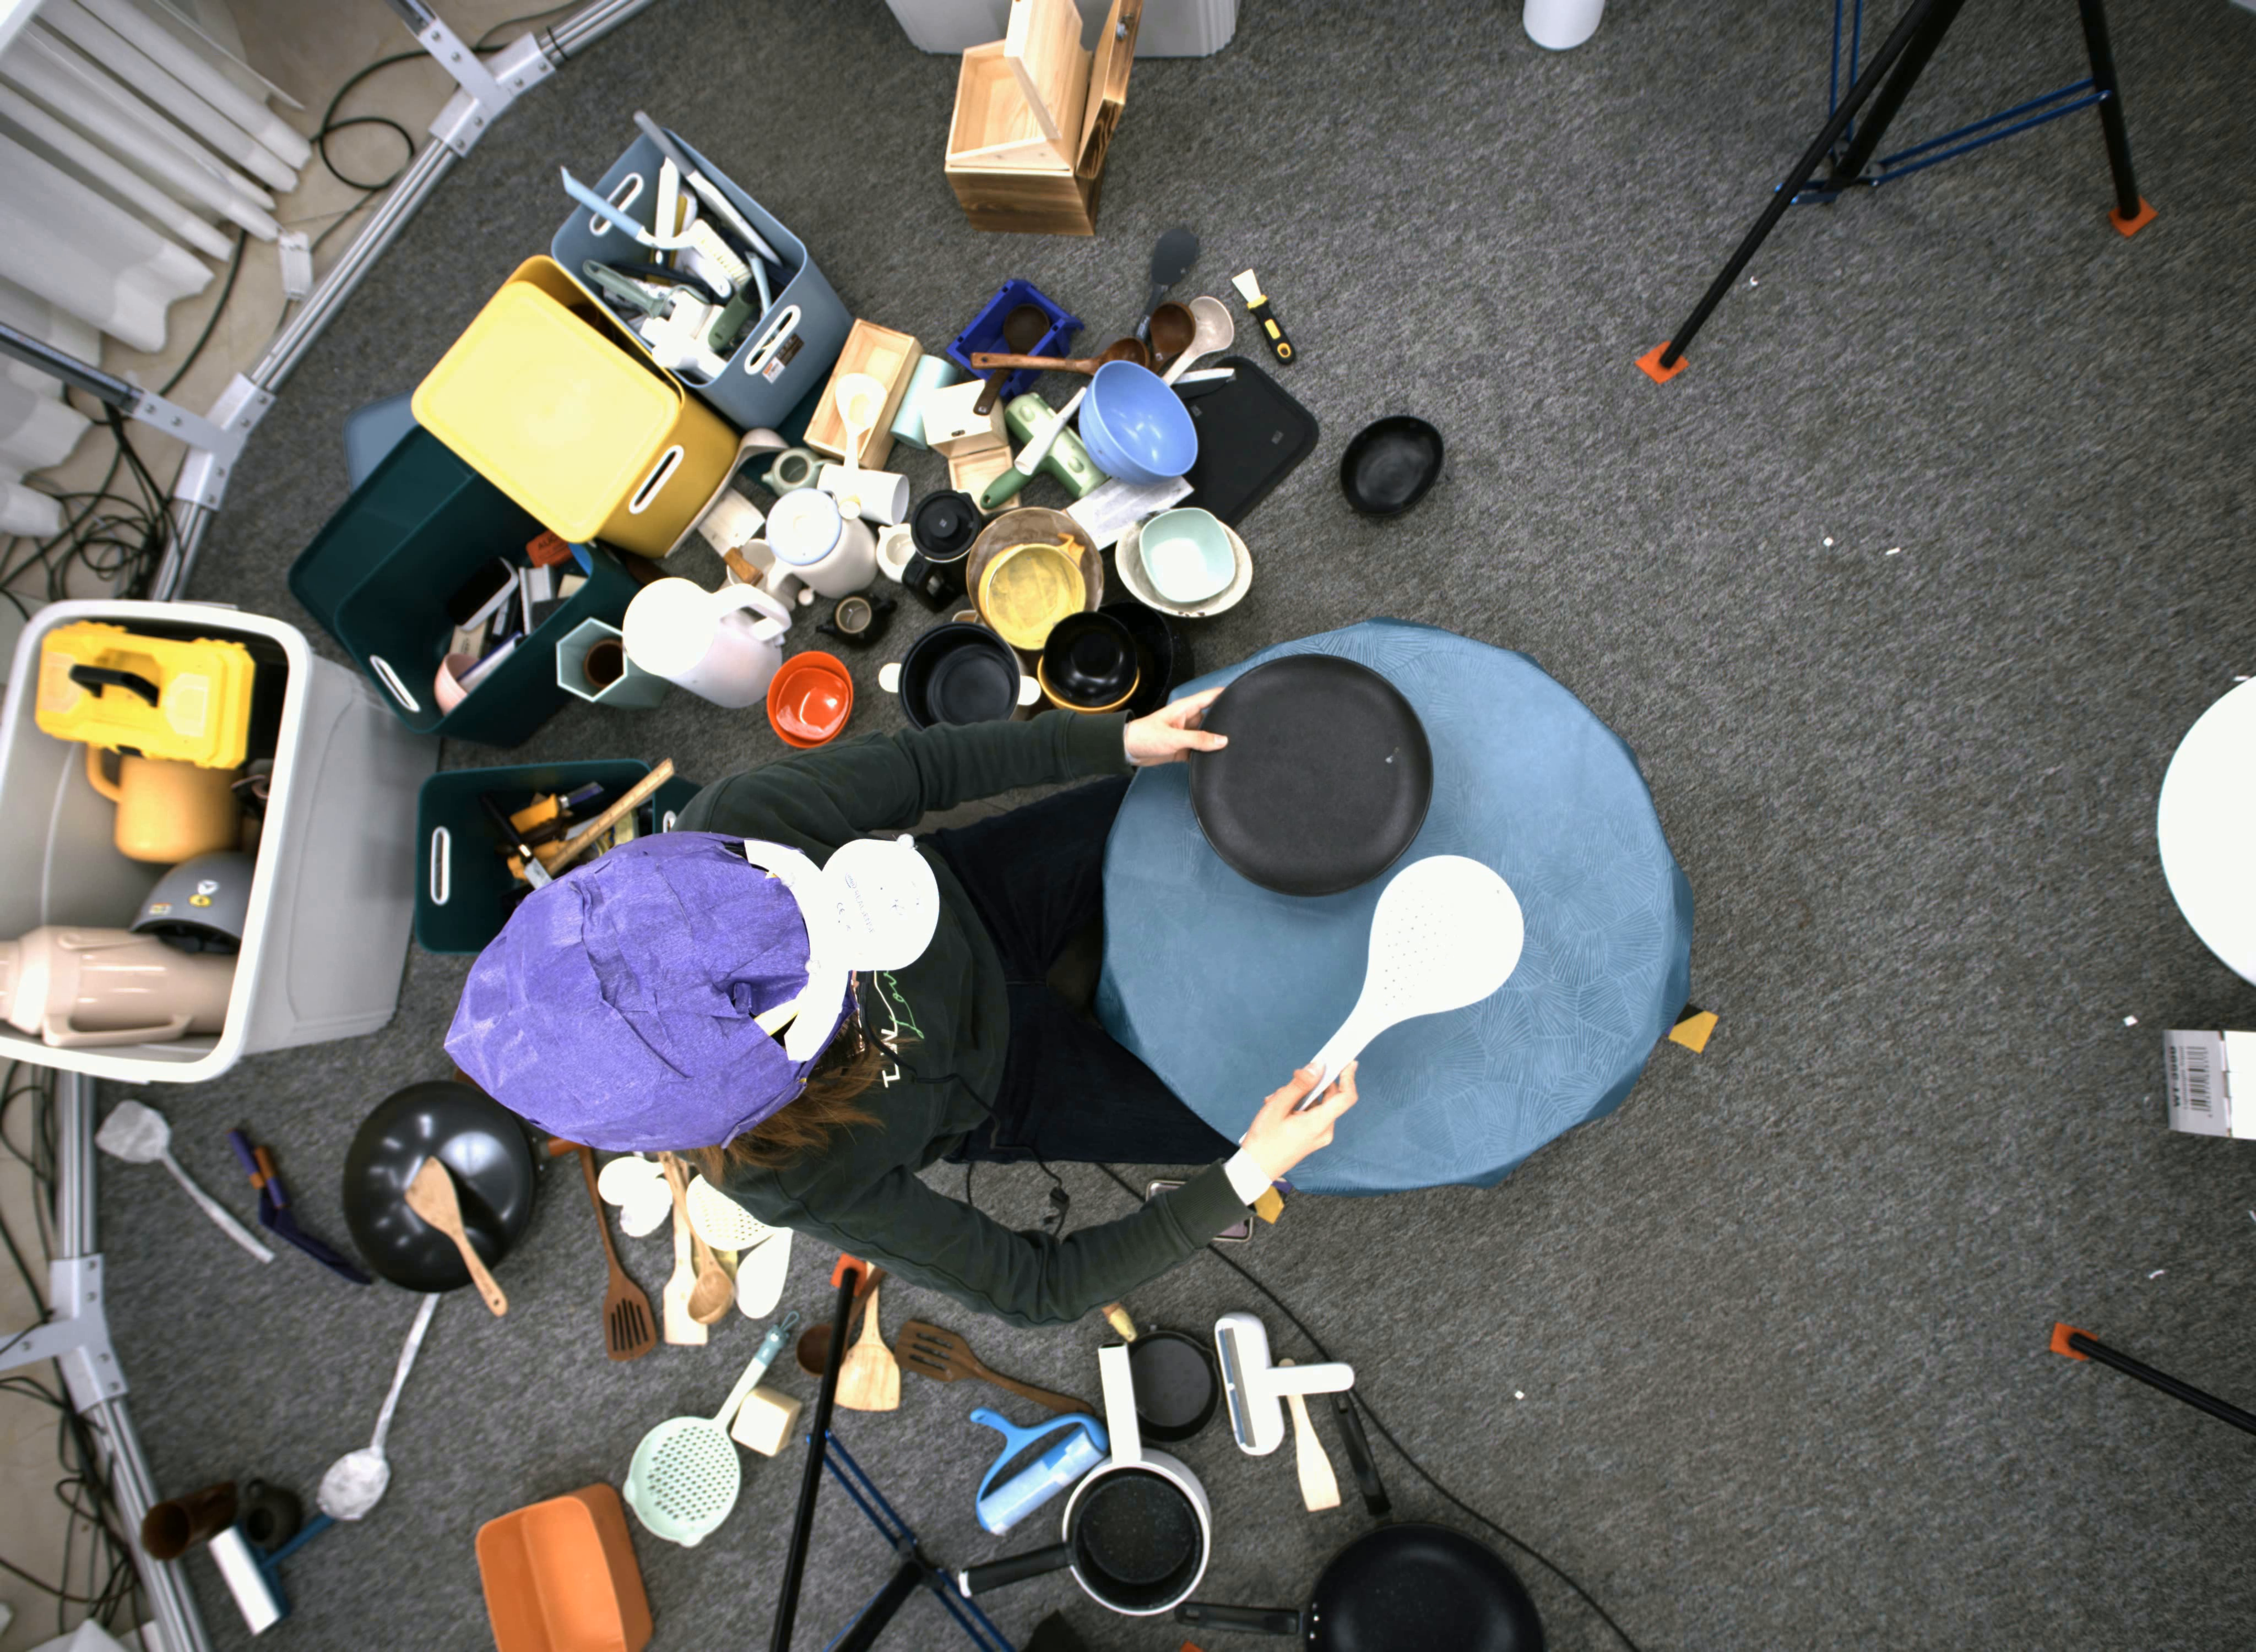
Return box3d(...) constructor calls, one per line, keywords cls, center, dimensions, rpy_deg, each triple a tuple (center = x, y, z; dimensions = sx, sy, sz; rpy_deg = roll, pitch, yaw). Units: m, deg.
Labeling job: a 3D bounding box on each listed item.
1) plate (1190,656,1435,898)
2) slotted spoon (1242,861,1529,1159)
box3d(cls="plate", center=(0.184, -0.050, 1.385), dimensions=(0.245, 0.023, 0.244), rpy_deg=(-1, 89, 10))
box3d(cls="slotted spoon", center=(0.231, 0.180, 1.291), dimensions=(0.352, 0.046, 0.134), rpy_deg=(-47, 64, 8))
